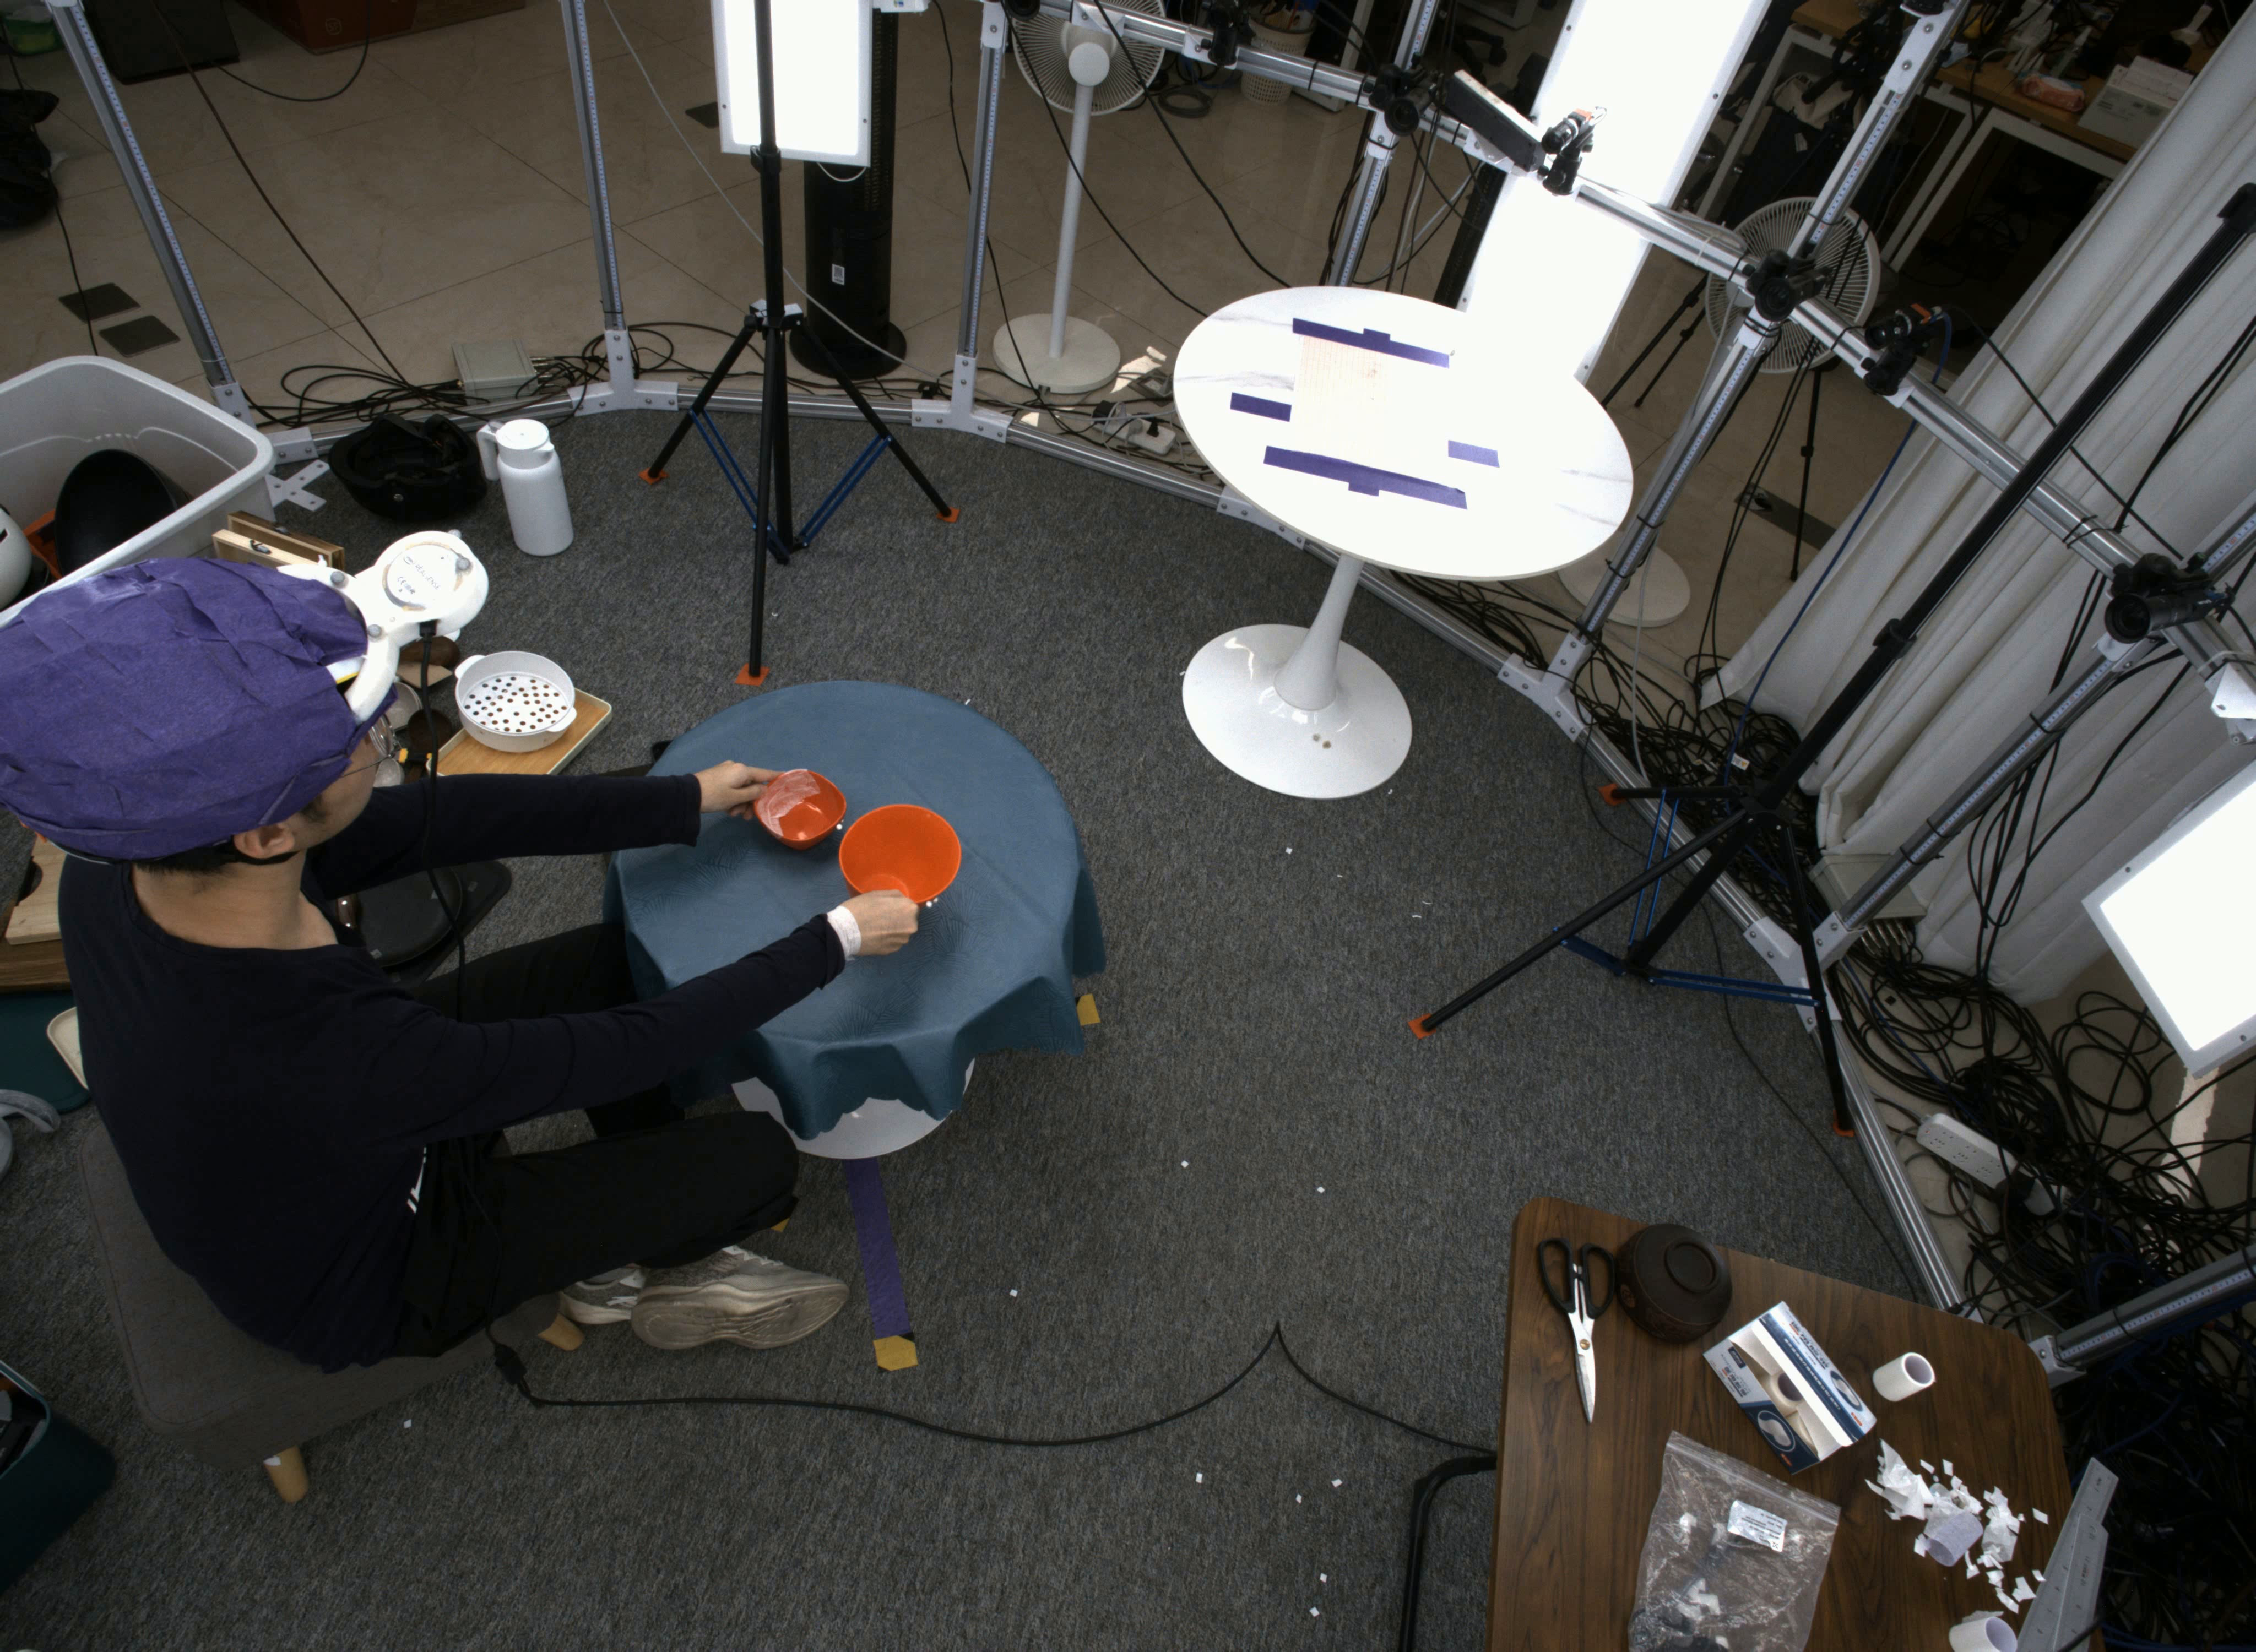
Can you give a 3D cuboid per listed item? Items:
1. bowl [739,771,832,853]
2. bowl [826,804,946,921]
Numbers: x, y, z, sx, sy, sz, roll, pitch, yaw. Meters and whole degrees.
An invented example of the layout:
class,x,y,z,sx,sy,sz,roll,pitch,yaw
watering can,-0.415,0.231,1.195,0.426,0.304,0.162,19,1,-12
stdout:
class,x,y,z,sx,sy,sz,roll,pitch,yaw
bowl,-0.450,-0.011,1.704,0.119,0.052,0.117,8,54,-9
bowl,-0.309,0.058,1.642,0.148,0.106,0.145,11,51,-12
